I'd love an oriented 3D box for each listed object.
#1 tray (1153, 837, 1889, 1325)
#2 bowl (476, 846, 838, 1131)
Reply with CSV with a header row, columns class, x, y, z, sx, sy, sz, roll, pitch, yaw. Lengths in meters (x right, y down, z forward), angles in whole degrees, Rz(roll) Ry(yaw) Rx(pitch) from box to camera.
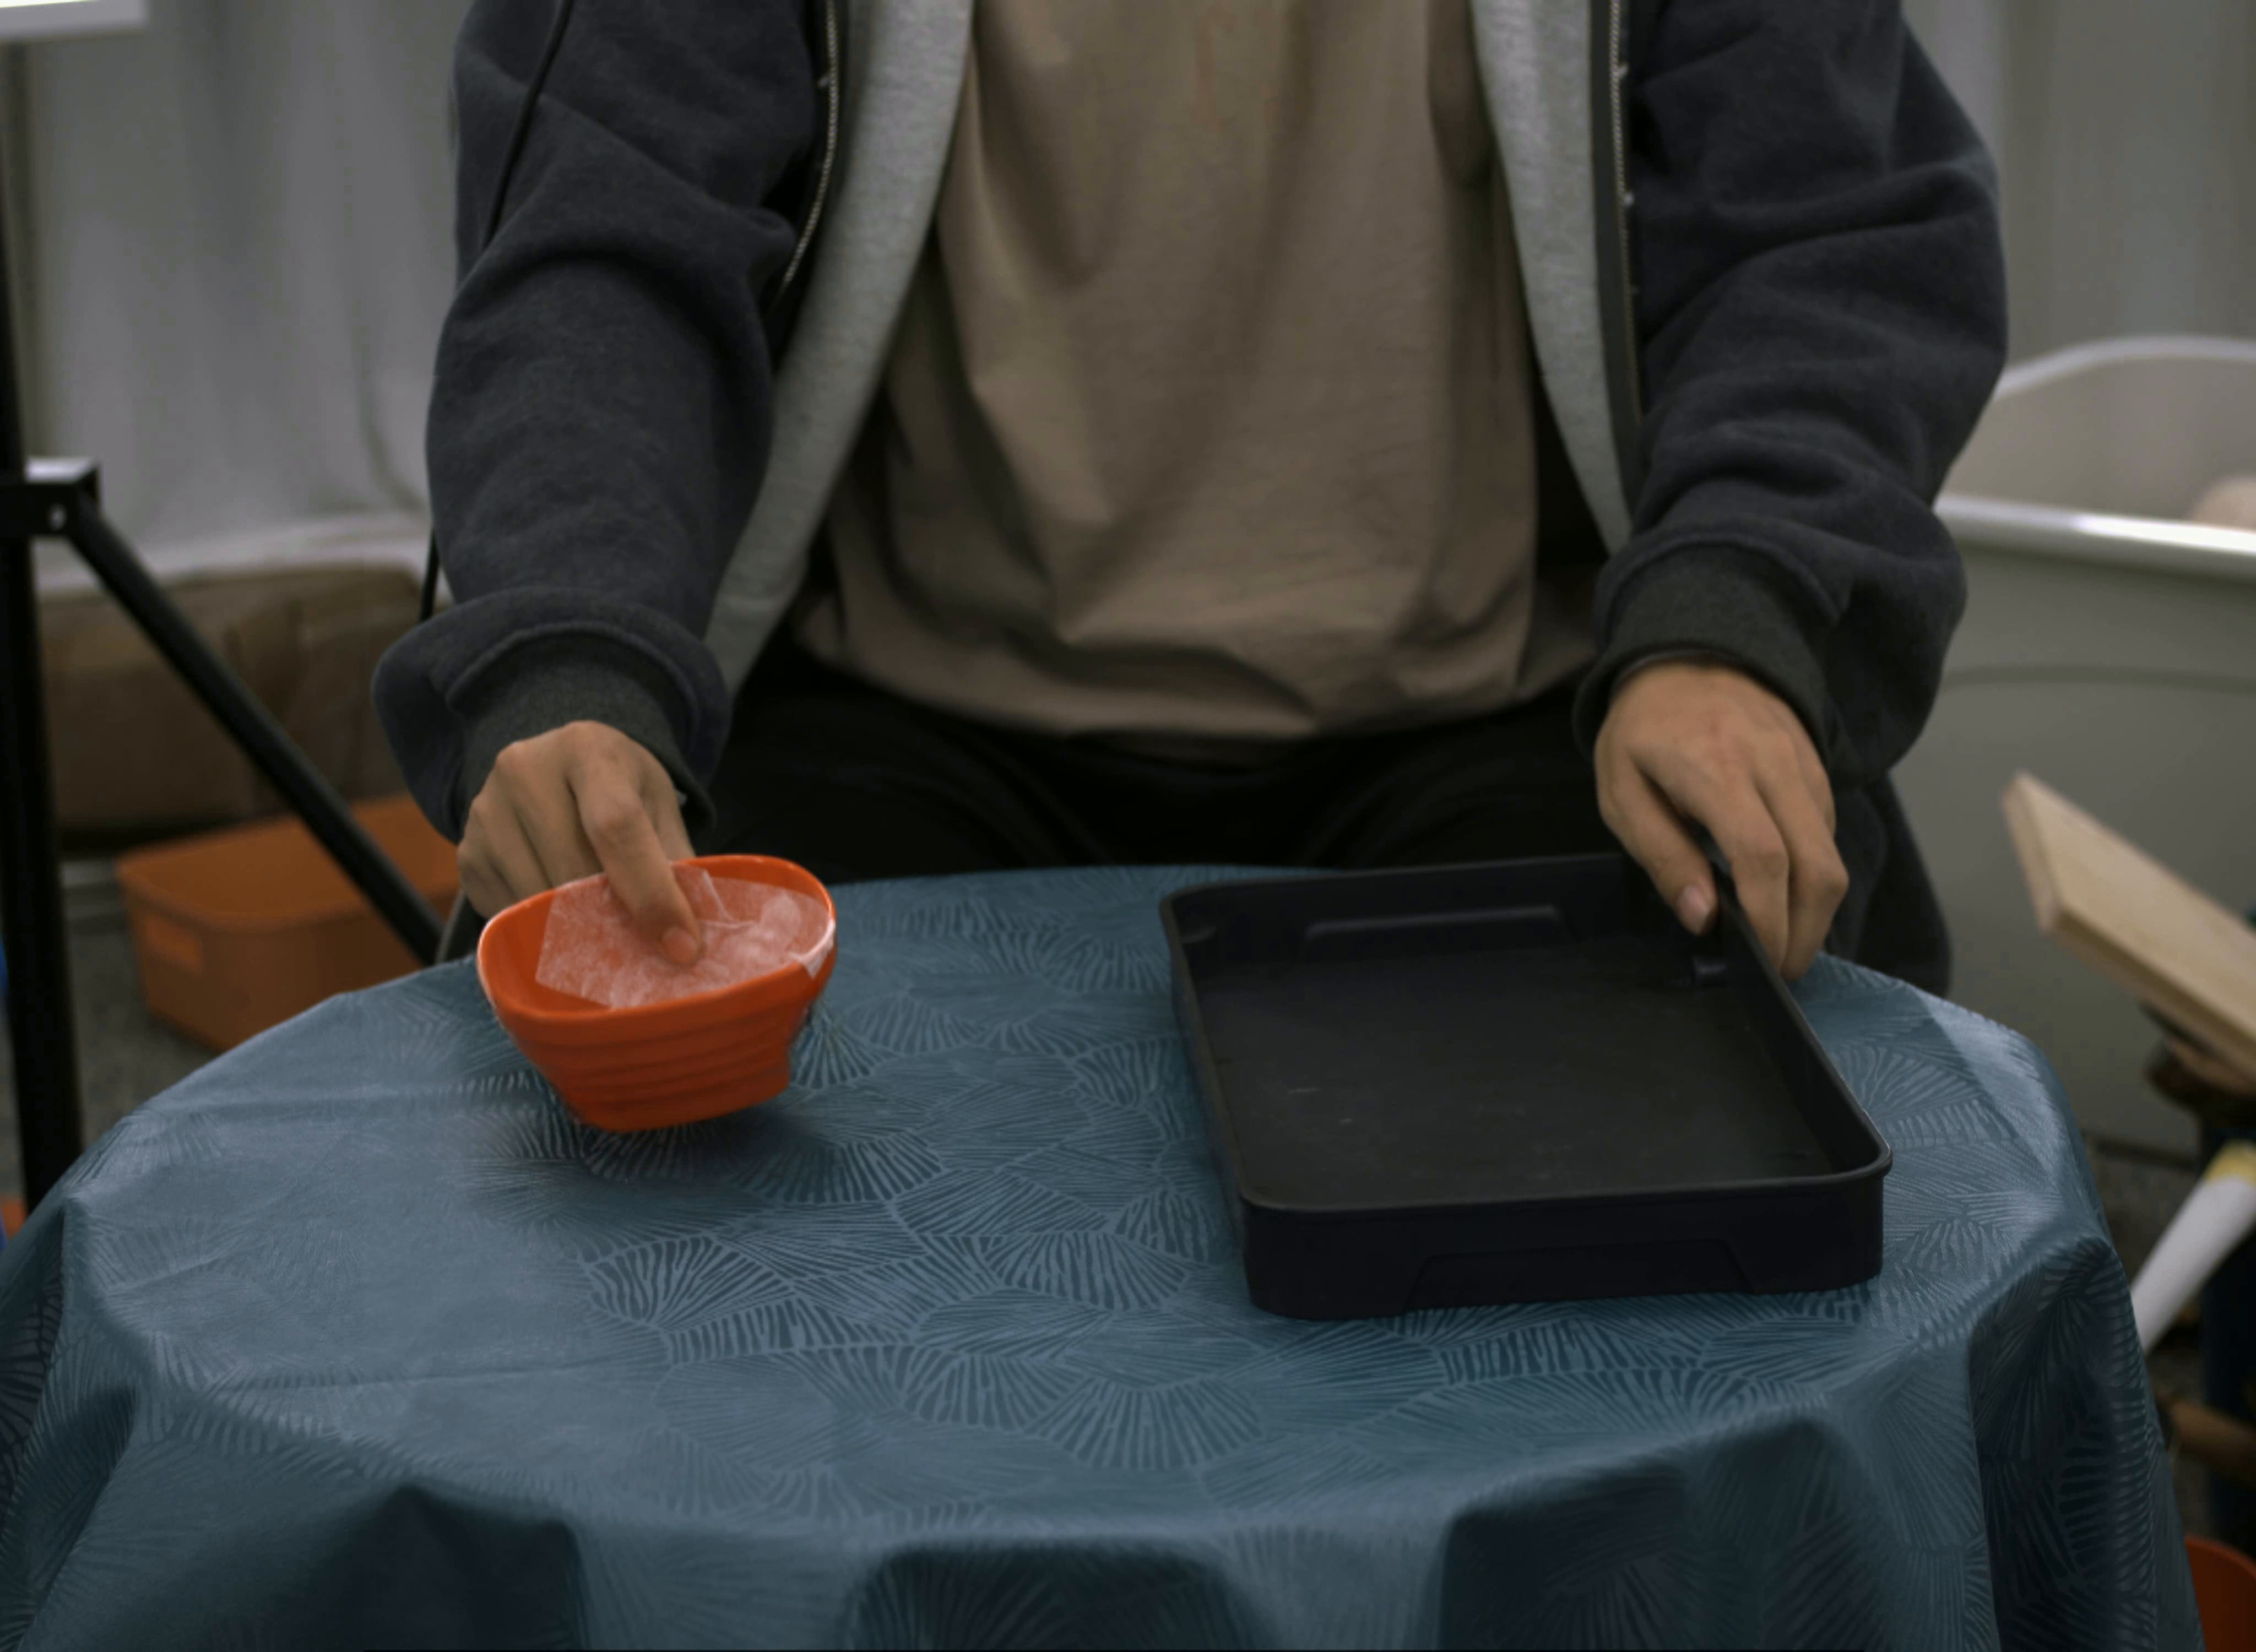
class,x,y,z,sx,sy,sz,roll,pitch,yaw
tray,0.110,0.071,1.598,0.183,0.037,0.320,-4,17,-3
bowl,-0.140,0.053,1.628,0.118,0.051,0.120,-8,24,2
